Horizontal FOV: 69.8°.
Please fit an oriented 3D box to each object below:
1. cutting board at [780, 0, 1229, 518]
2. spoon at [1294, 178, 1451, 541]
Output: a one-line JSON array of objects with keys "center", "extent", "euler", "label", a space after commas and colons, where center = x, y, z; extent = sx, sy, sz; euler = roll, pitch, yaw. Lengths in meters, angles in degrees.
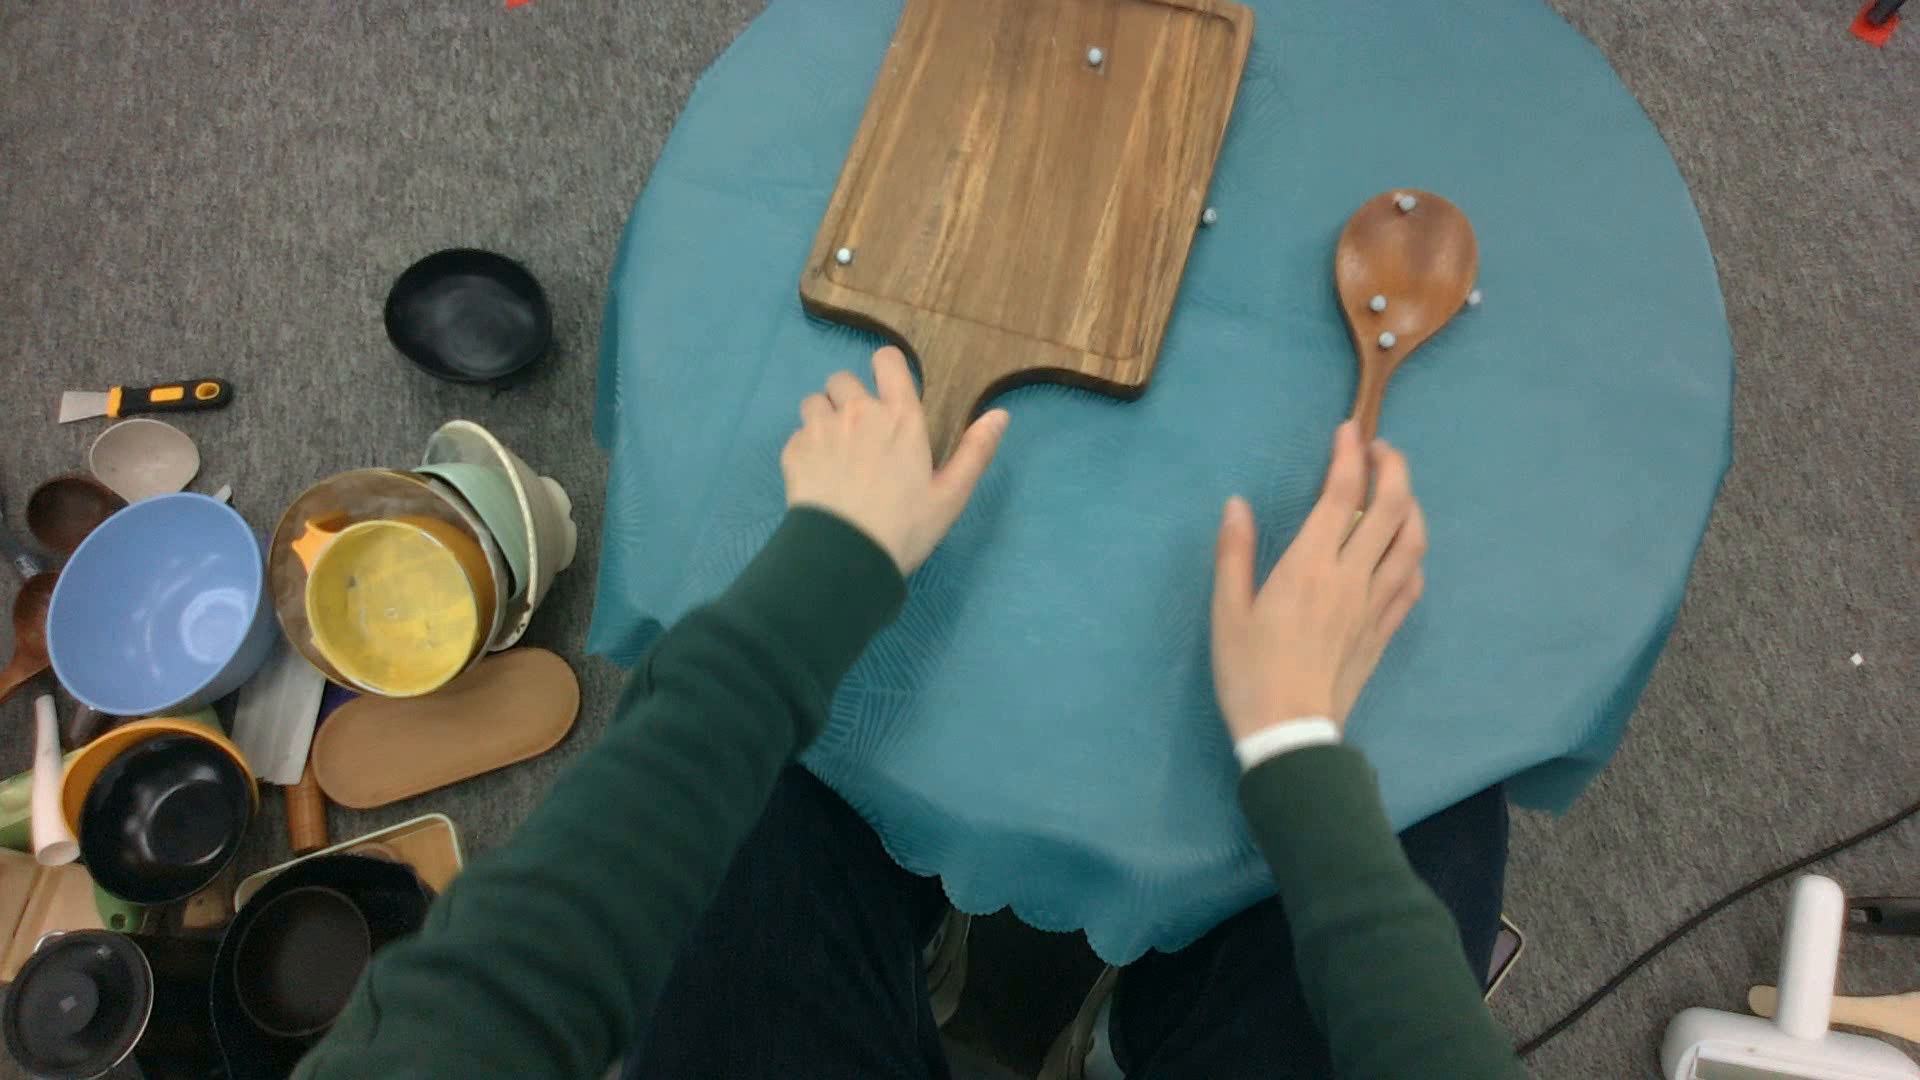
[{"center": [0.016, -0.176, 0.754], "extent": [0.201, 0.023, 0.353], "euler": [16, 72, 5], "label": "cutting board"}, {"center": [0.209, -0.098, 0.726], "extent": [0.075, 0.017, 0.216], "euler": [17, 71, 4], "label": "spoon"}]
